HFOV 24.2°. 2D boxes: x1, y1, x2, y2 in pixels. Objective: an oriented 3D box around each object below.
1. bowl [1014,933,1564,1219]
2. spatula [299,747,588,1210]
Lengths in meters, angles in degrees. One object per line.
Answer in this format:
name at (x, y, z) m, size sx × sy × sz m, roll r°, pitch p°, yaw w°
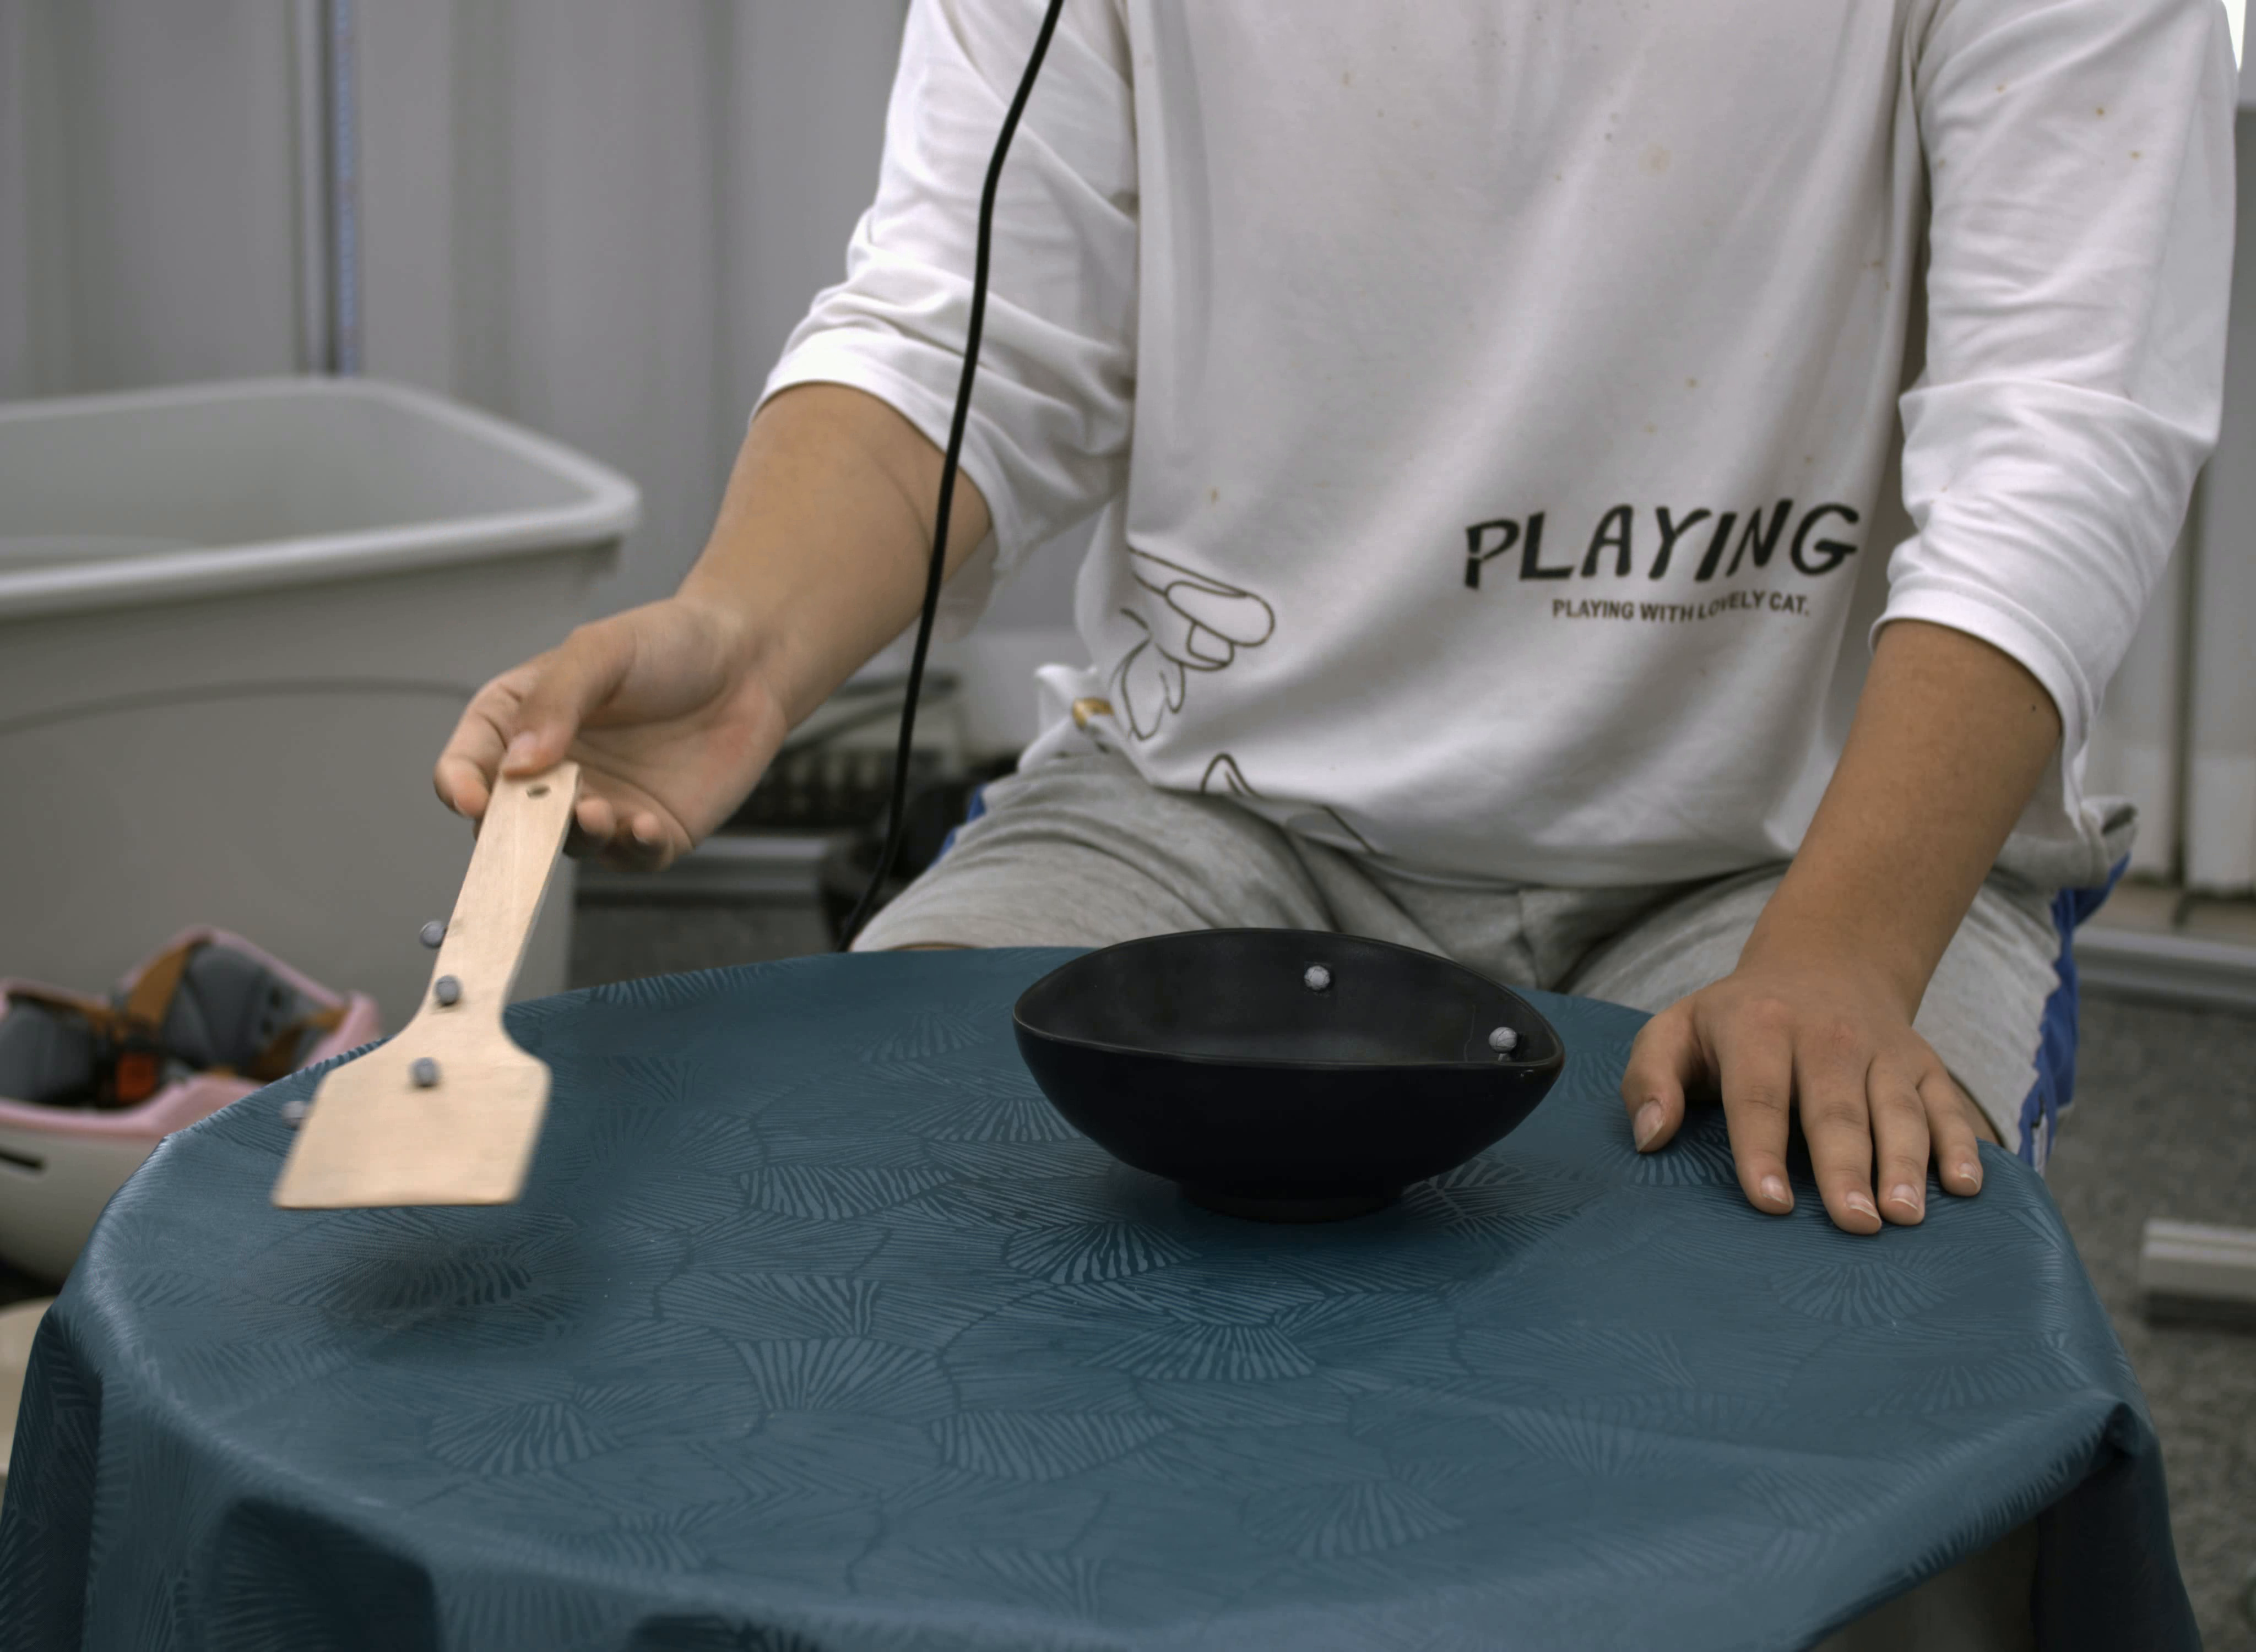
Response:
bowl at (0.049, 0.081, 1.627) m, size 0.170 × 0.067 × 0.136 m, roll 3°, pitch 15°, yaw 0°
spatula at (-0.198, 0.043, 1.620) m, size 0.072 × 0.011 × 0.291 m, roll -2°, pitch 27°, yaw 3°
